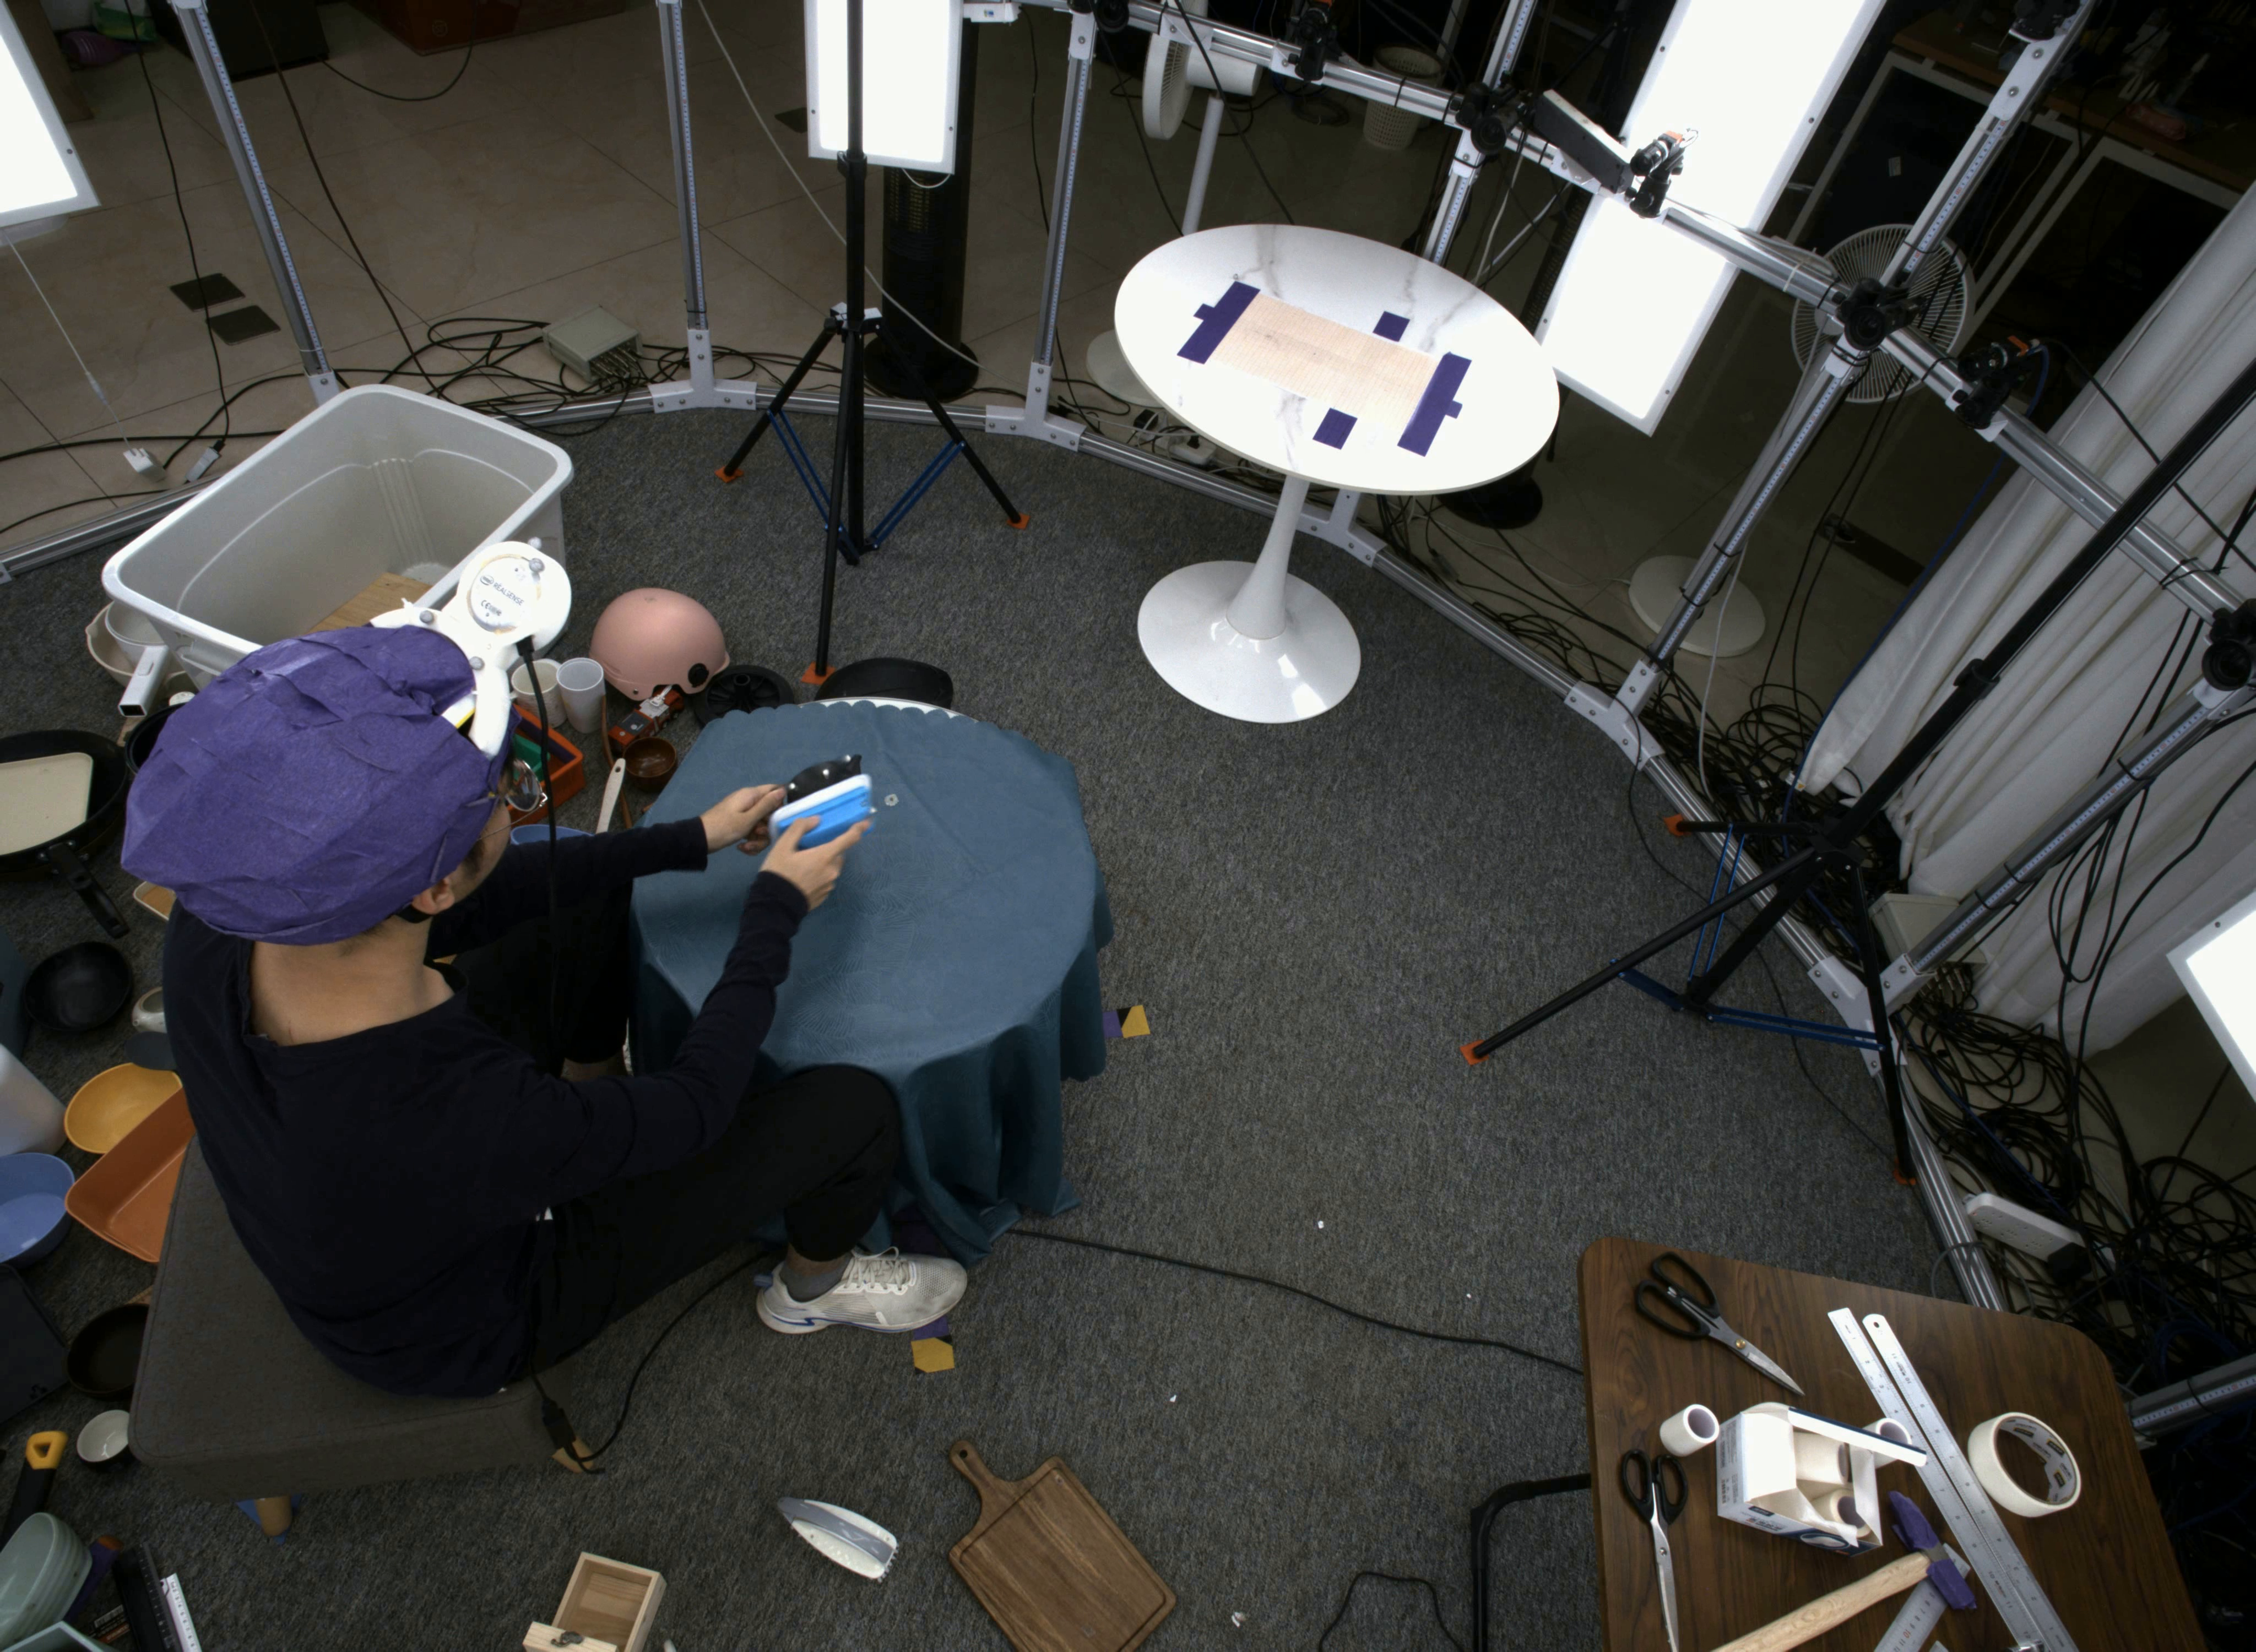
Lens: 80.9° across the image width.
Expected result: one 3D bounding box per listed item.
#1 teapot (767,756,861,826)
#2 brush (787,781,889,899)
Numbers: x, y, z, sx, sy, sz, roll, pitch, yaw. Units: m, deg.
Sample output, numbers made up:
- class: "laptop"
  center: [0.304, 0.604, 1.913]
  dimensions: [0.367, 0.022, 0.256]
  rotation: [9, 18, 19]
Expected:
- class: "teapot"
  center: [-0.381, -0.040, 1.604]
  dimensions: [0.133, 0.092, 0.052]
  rotation: [-29, 70, -24]
- class: "brush"
  center: [-0.345, 0.019, 1.576]
  dimensions: [0.054, 0.087, 0.144]
  rotation: [20, 61, 34]
